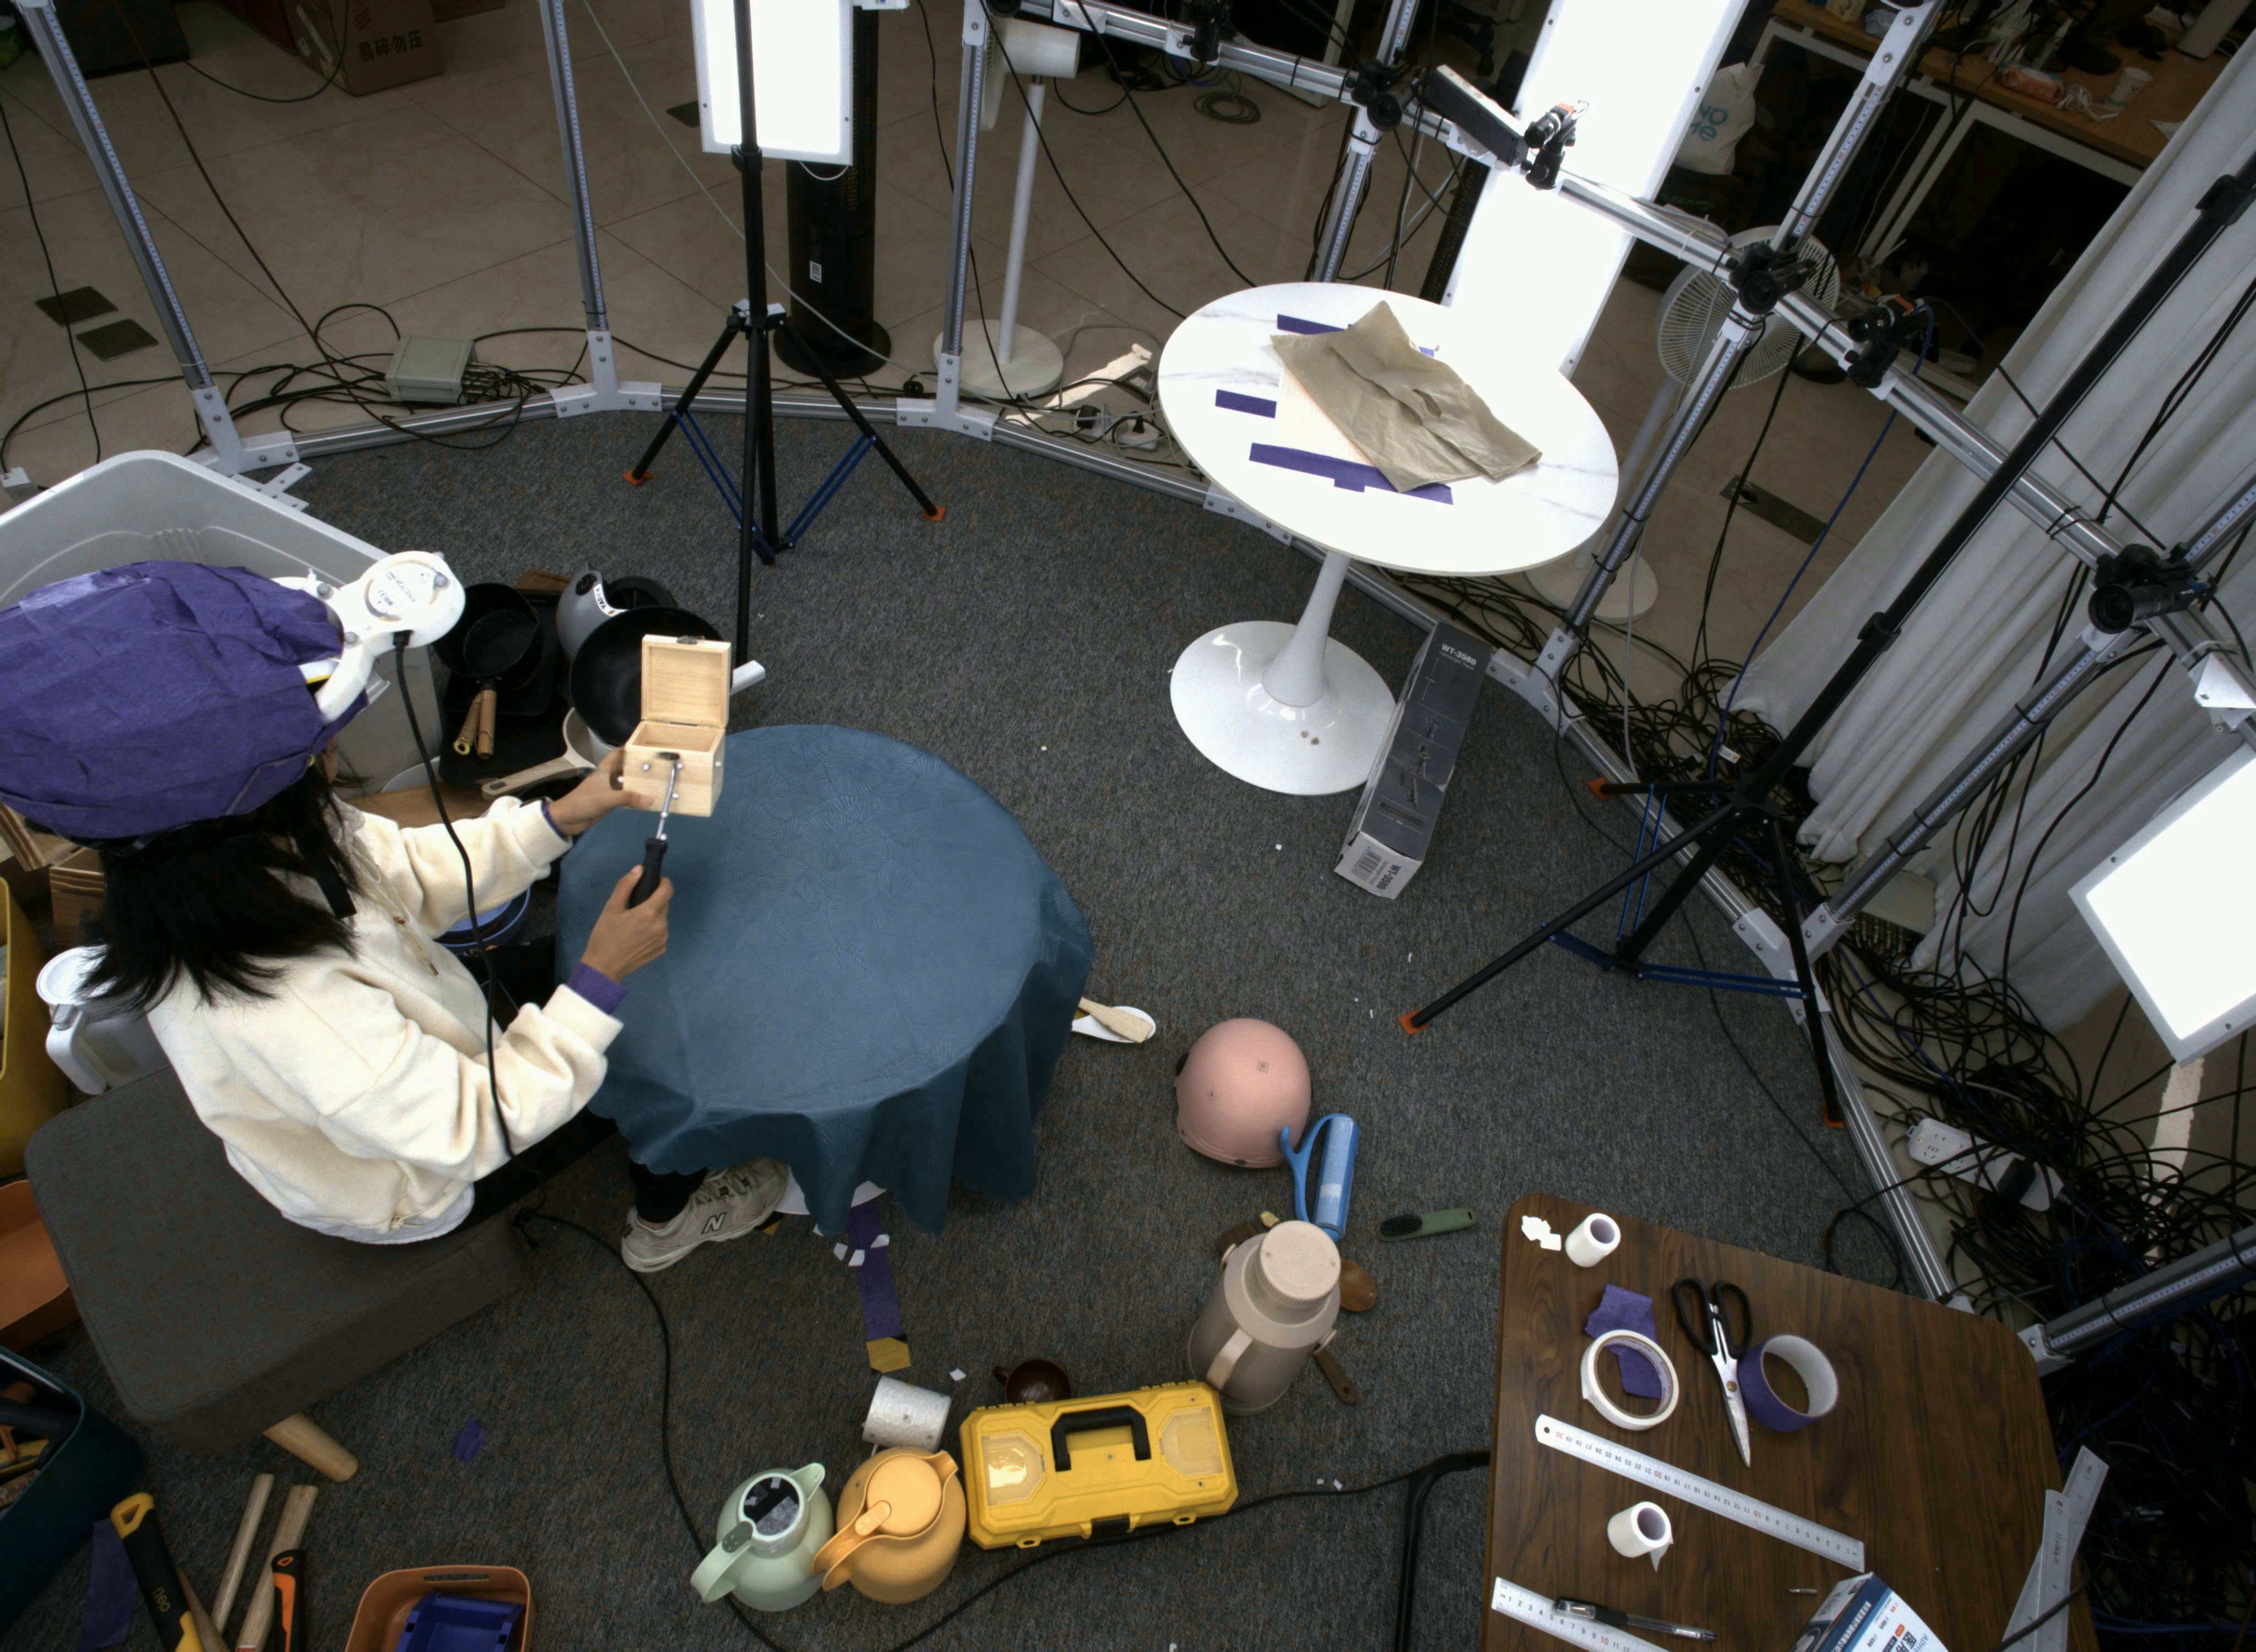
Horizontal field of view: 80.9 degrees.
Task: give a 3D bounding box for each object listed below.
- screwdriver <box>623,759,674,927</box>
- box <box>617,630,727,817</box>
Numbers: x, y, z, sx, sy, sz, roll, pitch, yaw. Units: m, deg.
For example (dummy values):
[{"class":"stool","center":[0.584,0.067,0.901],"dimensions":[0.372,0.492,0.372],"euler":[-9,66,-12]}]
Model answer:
[{"class":"screwdriver","center":[-0.528,0.016,1.428],"dimensions":[0.031,0.032,0.196],"euler":[10,66,-5]},{"class":"box","center":[-0.535,-0.124,1.504],"dimensions":[0.103,0.189,0.130],"euler":[6,20,-11]}]
